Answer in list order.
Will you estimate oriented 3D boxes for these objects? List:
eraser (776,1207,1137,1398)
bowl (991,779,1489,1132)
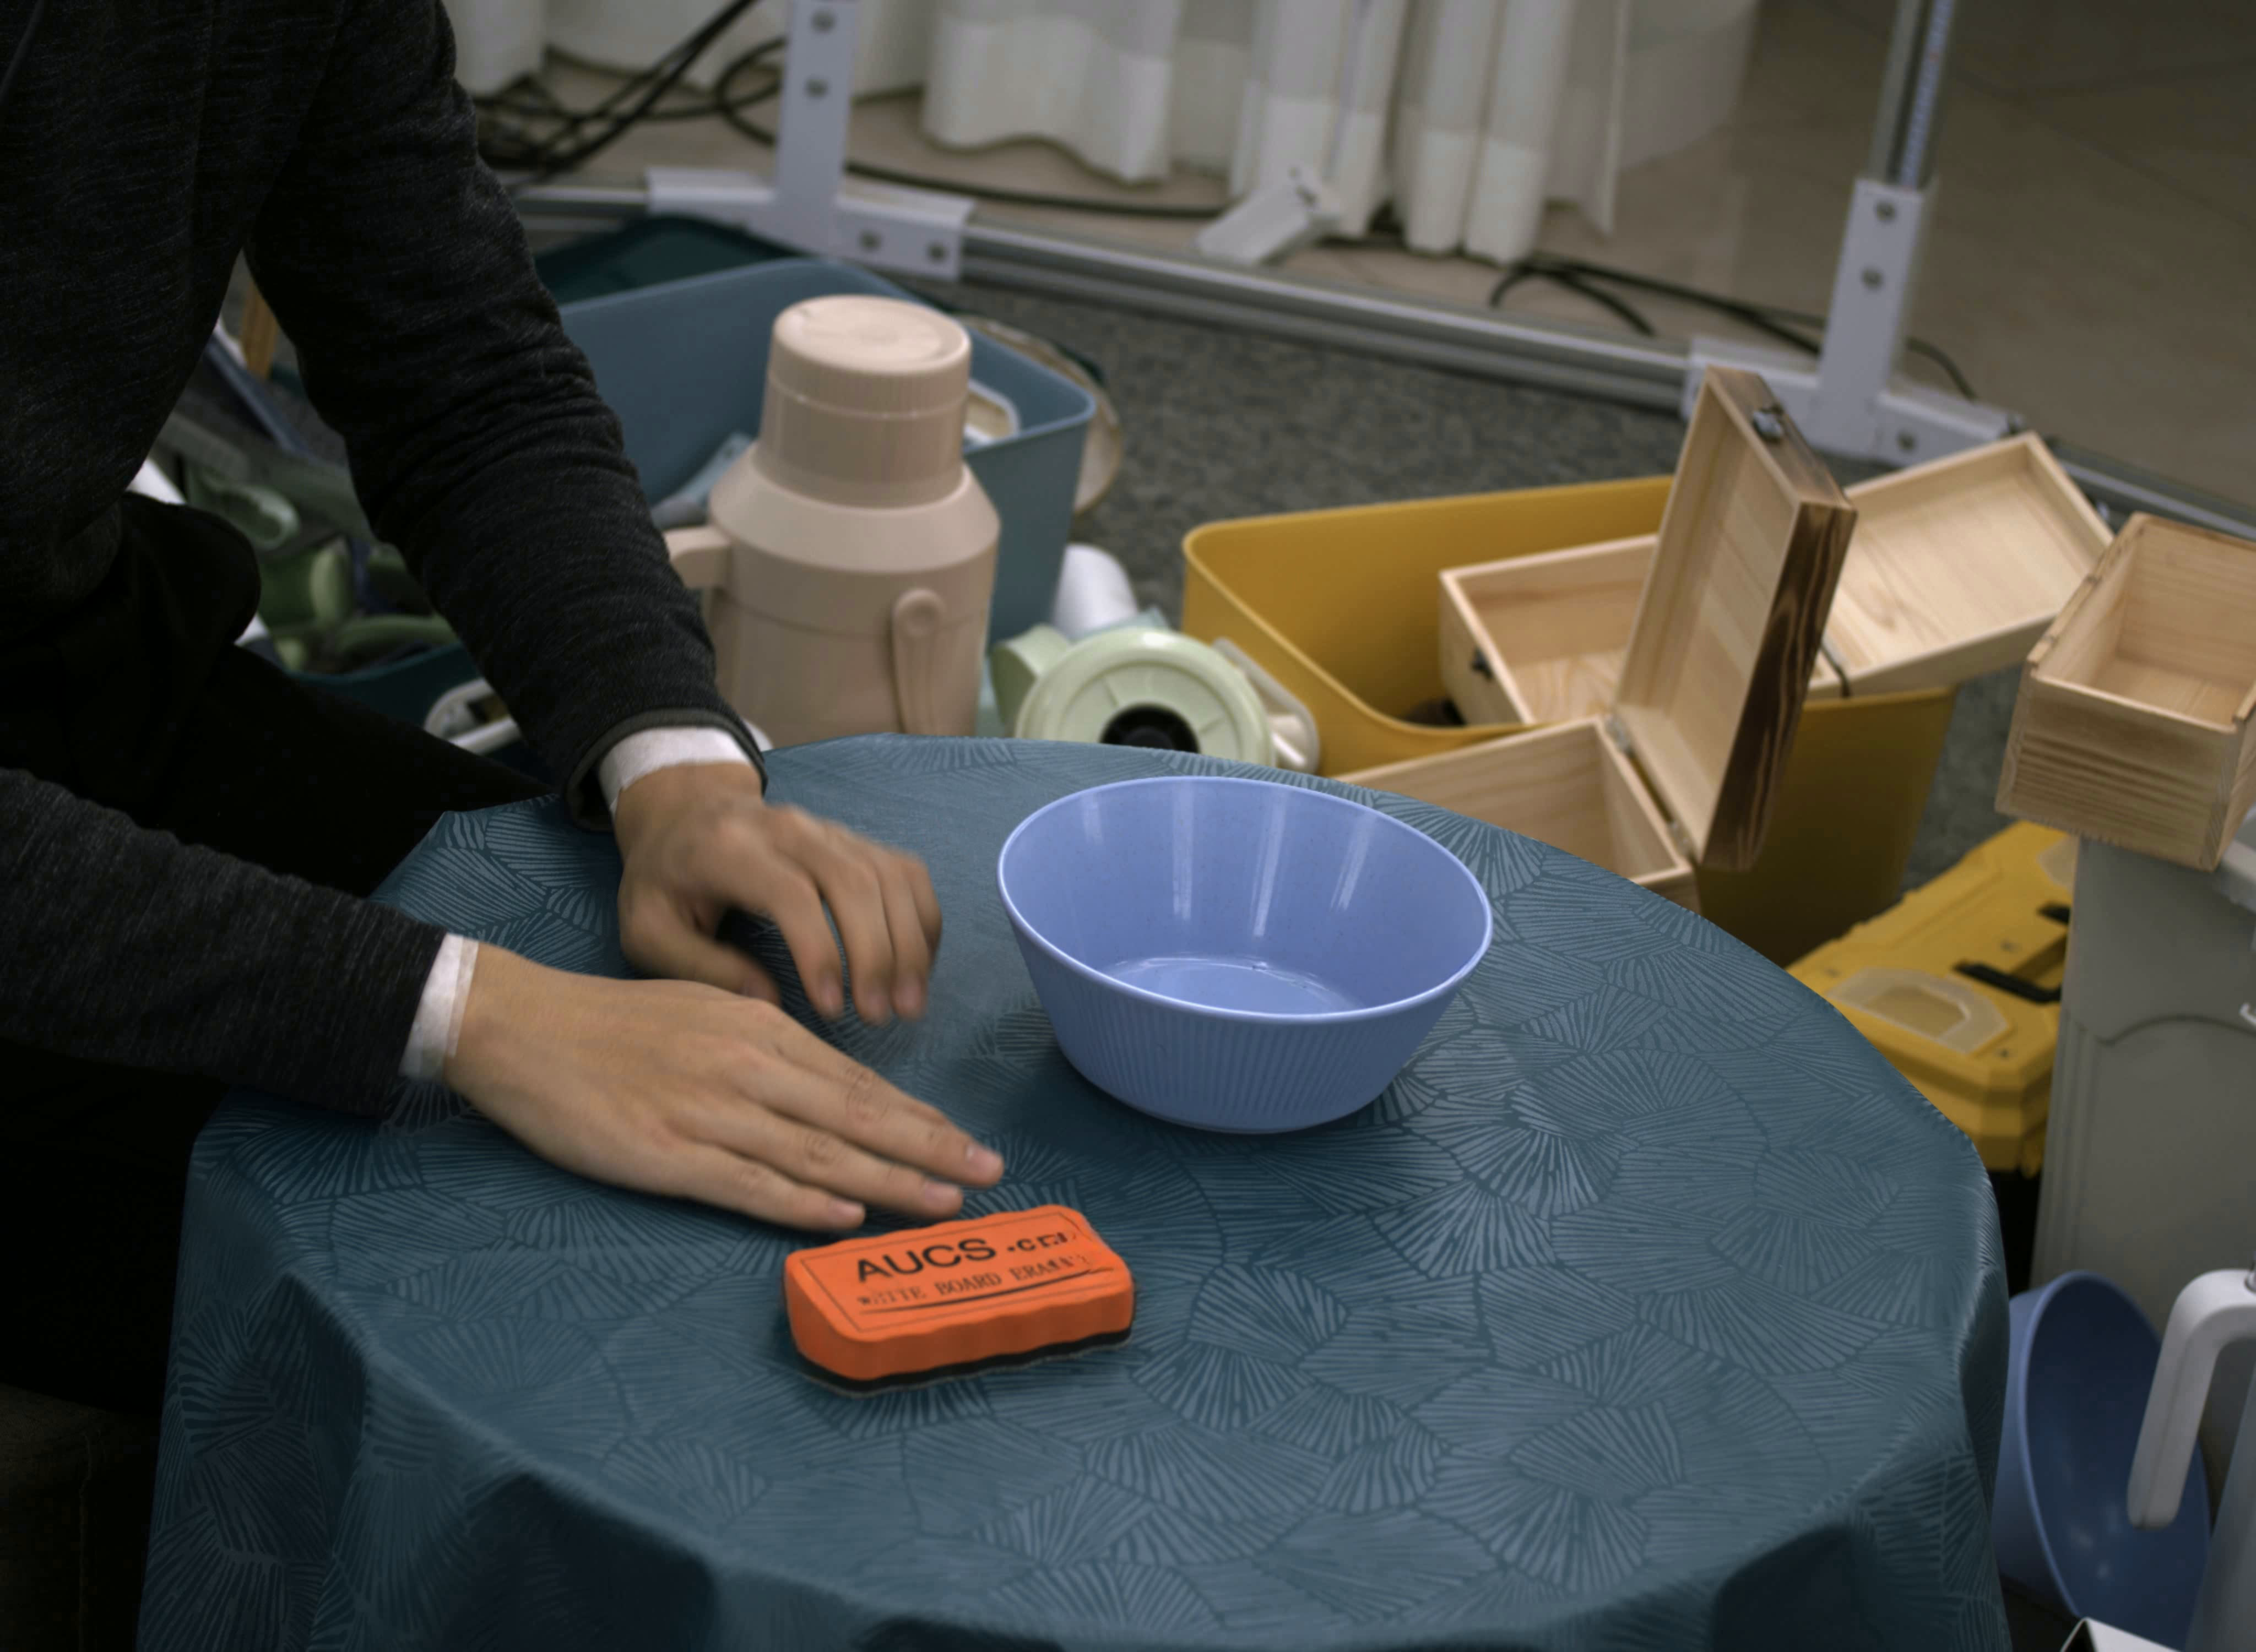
[{"bbox_3d":[-0.055,0.152,1.707,0.107,0.023,0.059,-8,32,-26],"label":"eraser"},{"bbox_3d":[0.036,0.051,1.876,0.175,0.070,0.177,5,27,-3],"label":"bowl"}]
